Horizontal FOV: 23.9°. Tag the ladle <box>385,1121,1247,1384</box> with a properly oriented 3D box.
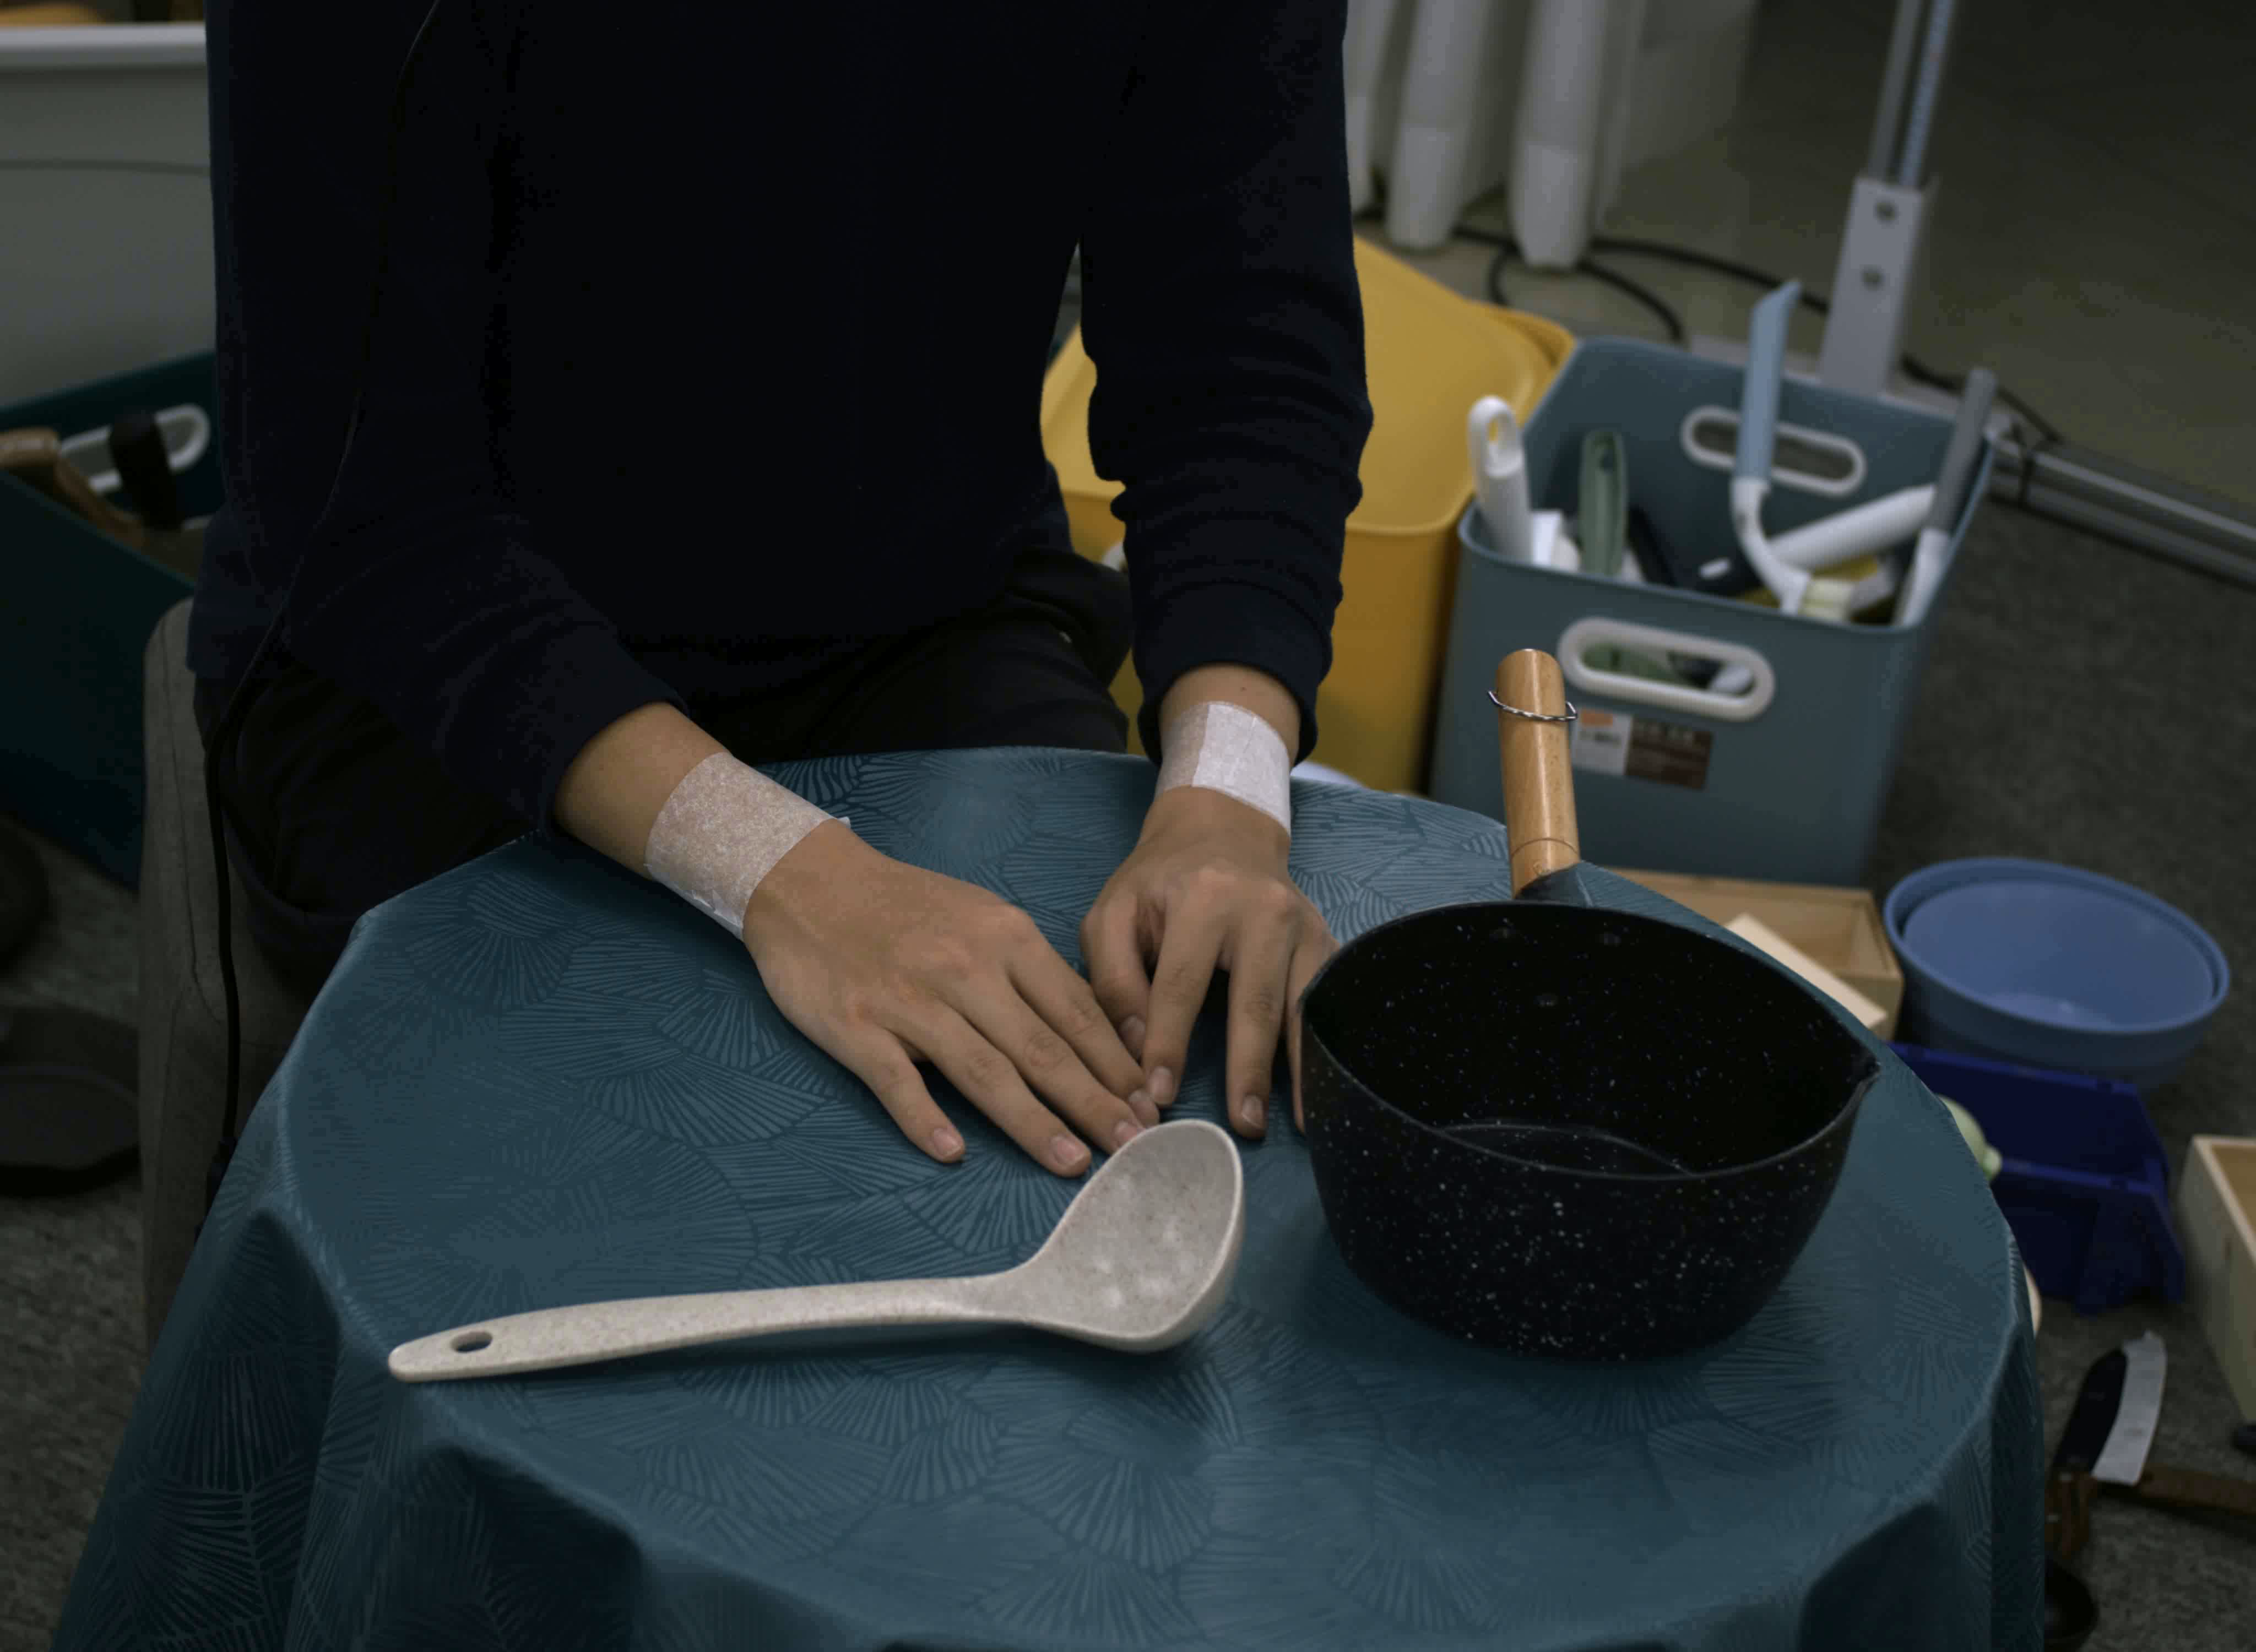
[{"bbox_3d":[-0.097,0.137,1.681,0.273,0.069,0.090,-2,35,-16],"label":"ladle"}]

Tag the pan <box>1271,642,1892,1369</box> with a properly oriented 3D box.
[{"bbox_3d":[0.145,0.058,1.844,0.207,0.108,0.345,3,28,-4],"label":"pan"}]
